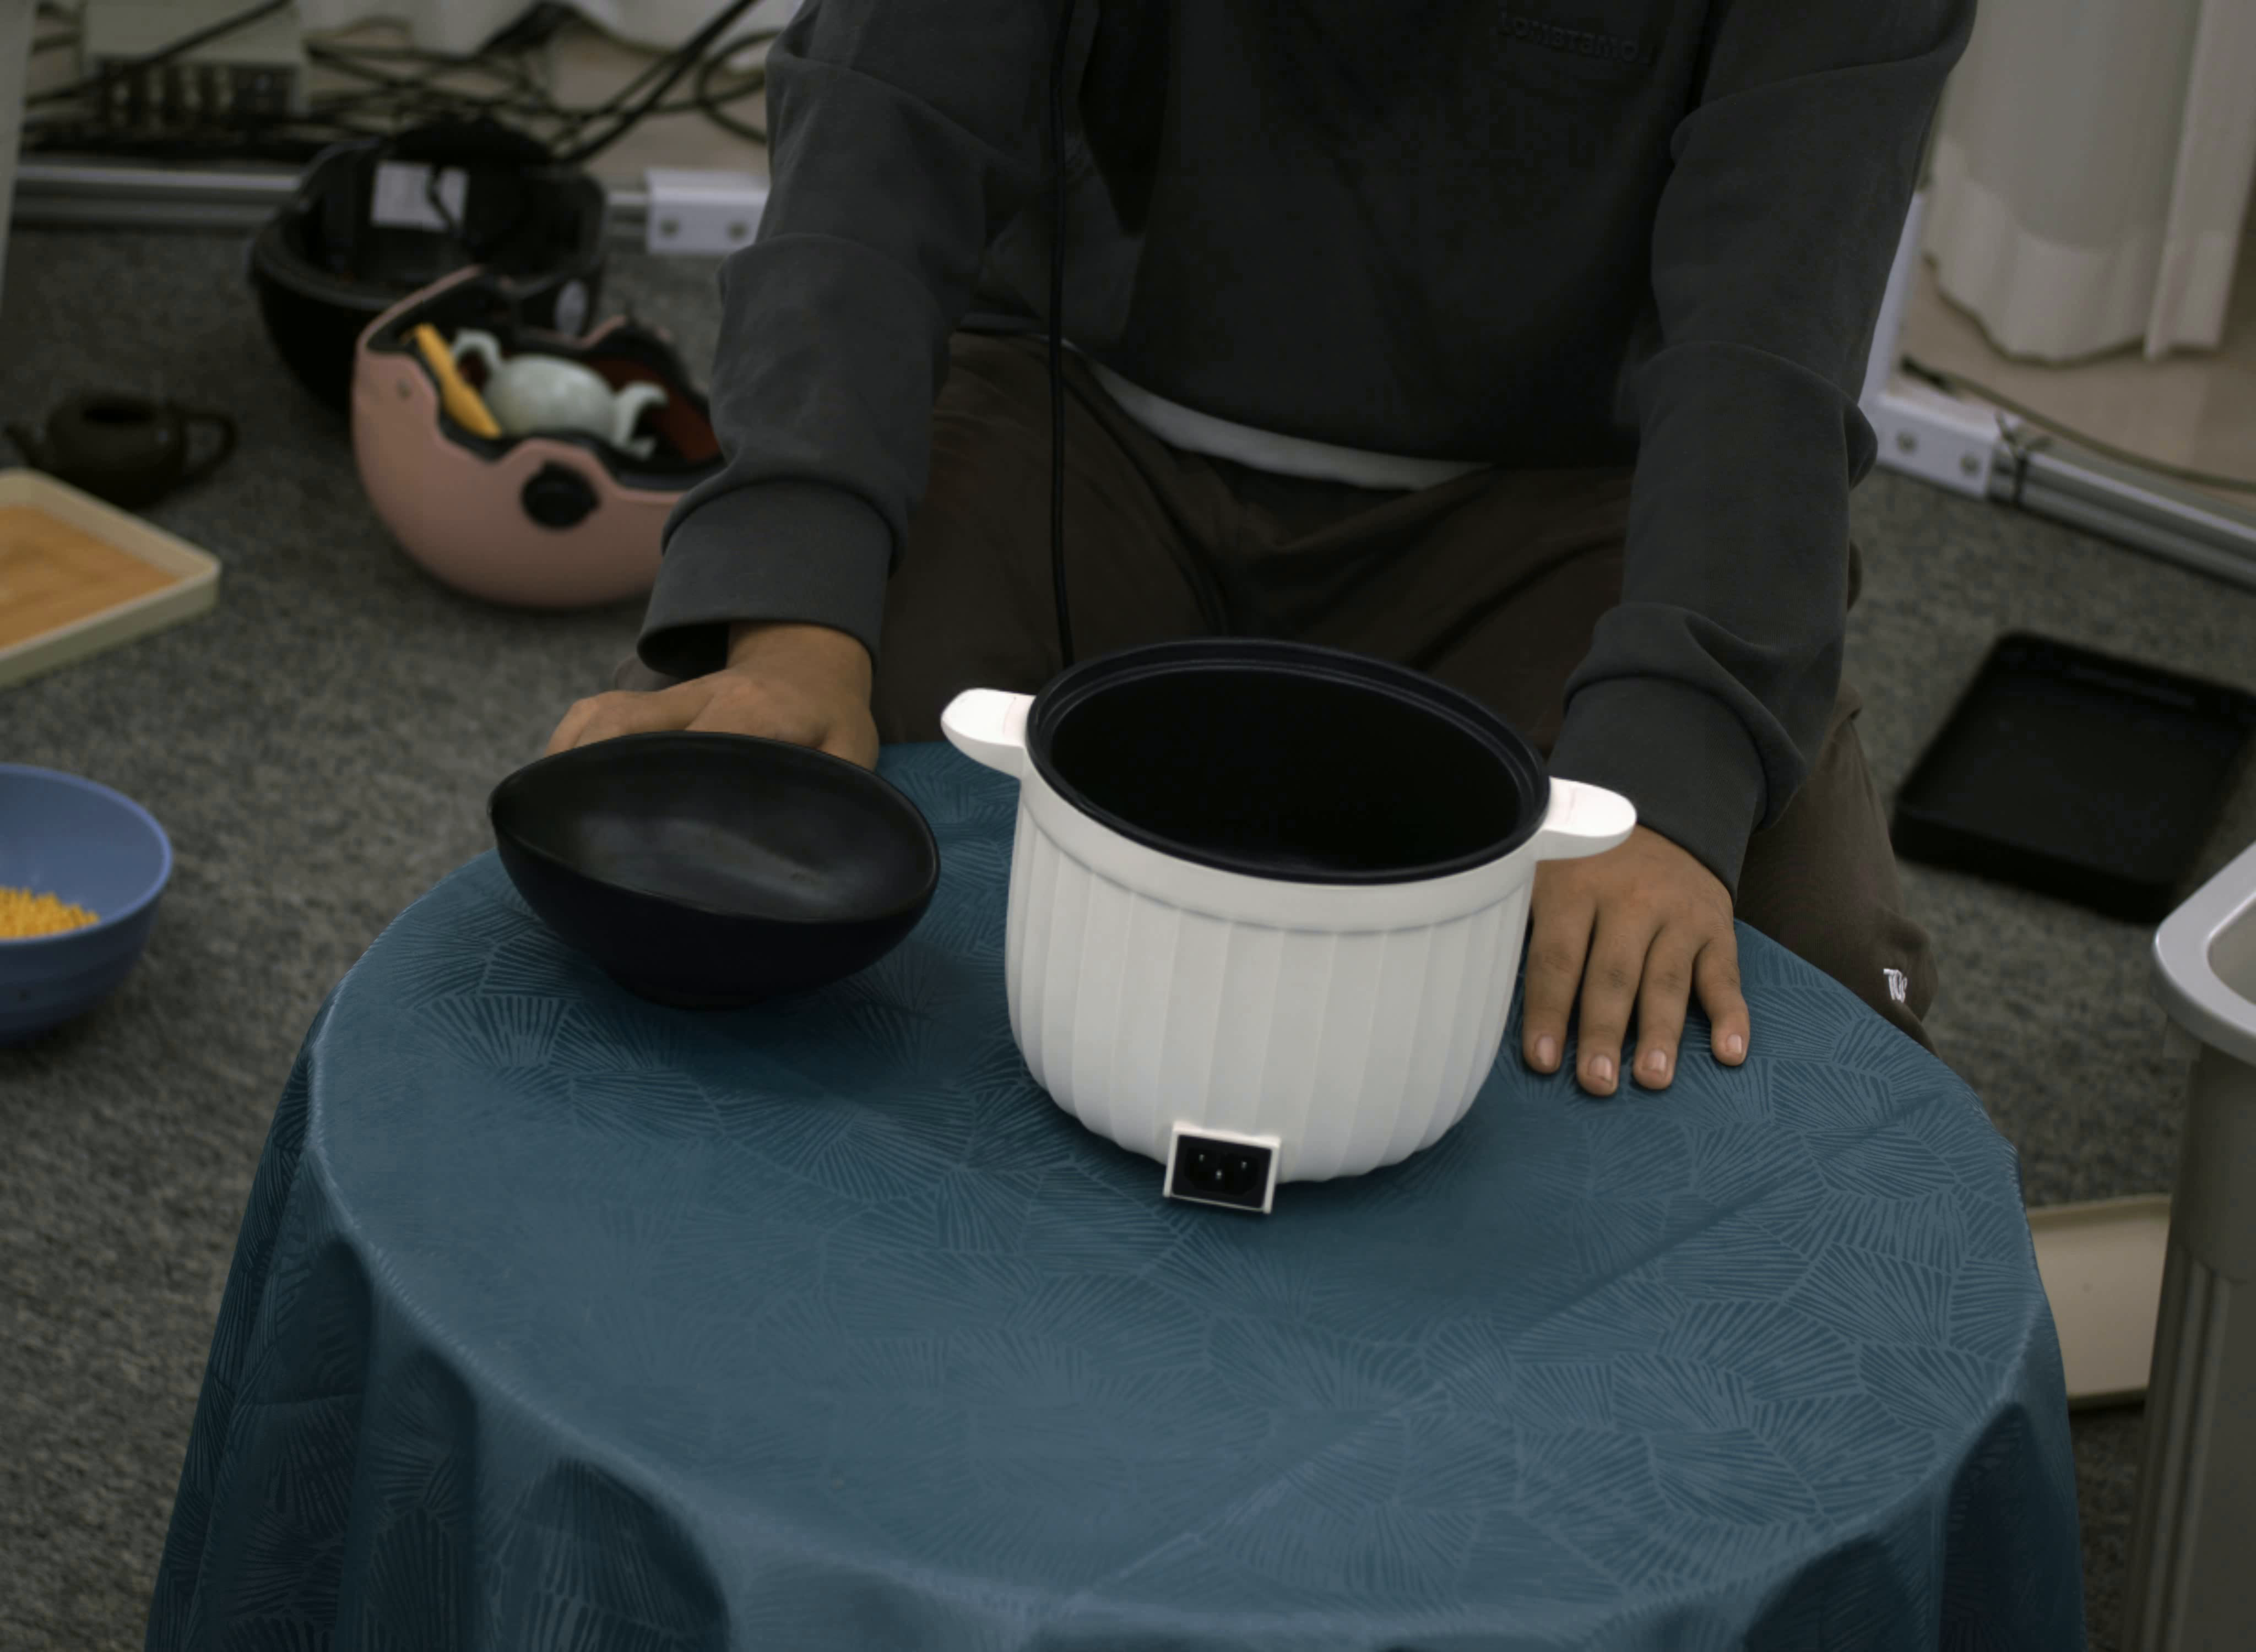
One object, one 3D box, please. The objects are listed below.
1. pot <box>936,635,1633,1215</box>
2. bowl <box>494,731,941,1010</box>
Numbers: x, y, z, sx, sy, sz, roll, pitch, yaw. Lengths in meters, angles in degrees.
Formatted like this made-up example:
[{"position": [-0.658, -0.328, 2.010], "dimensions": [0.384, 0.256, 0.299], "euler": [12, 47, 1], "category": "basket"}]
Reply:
[{"position": [0.046, 0.031, 1.848], "dimensions": [0.240, 0.142, 0.191], "euler": [9, 29, 2], "category": "pot"}, {"position": [-0.150, 0.023, 1.898], "dimensions": [0.171, 0.066, 0.137], "euler": [17, 28, 21], "category": "bowl"}]
